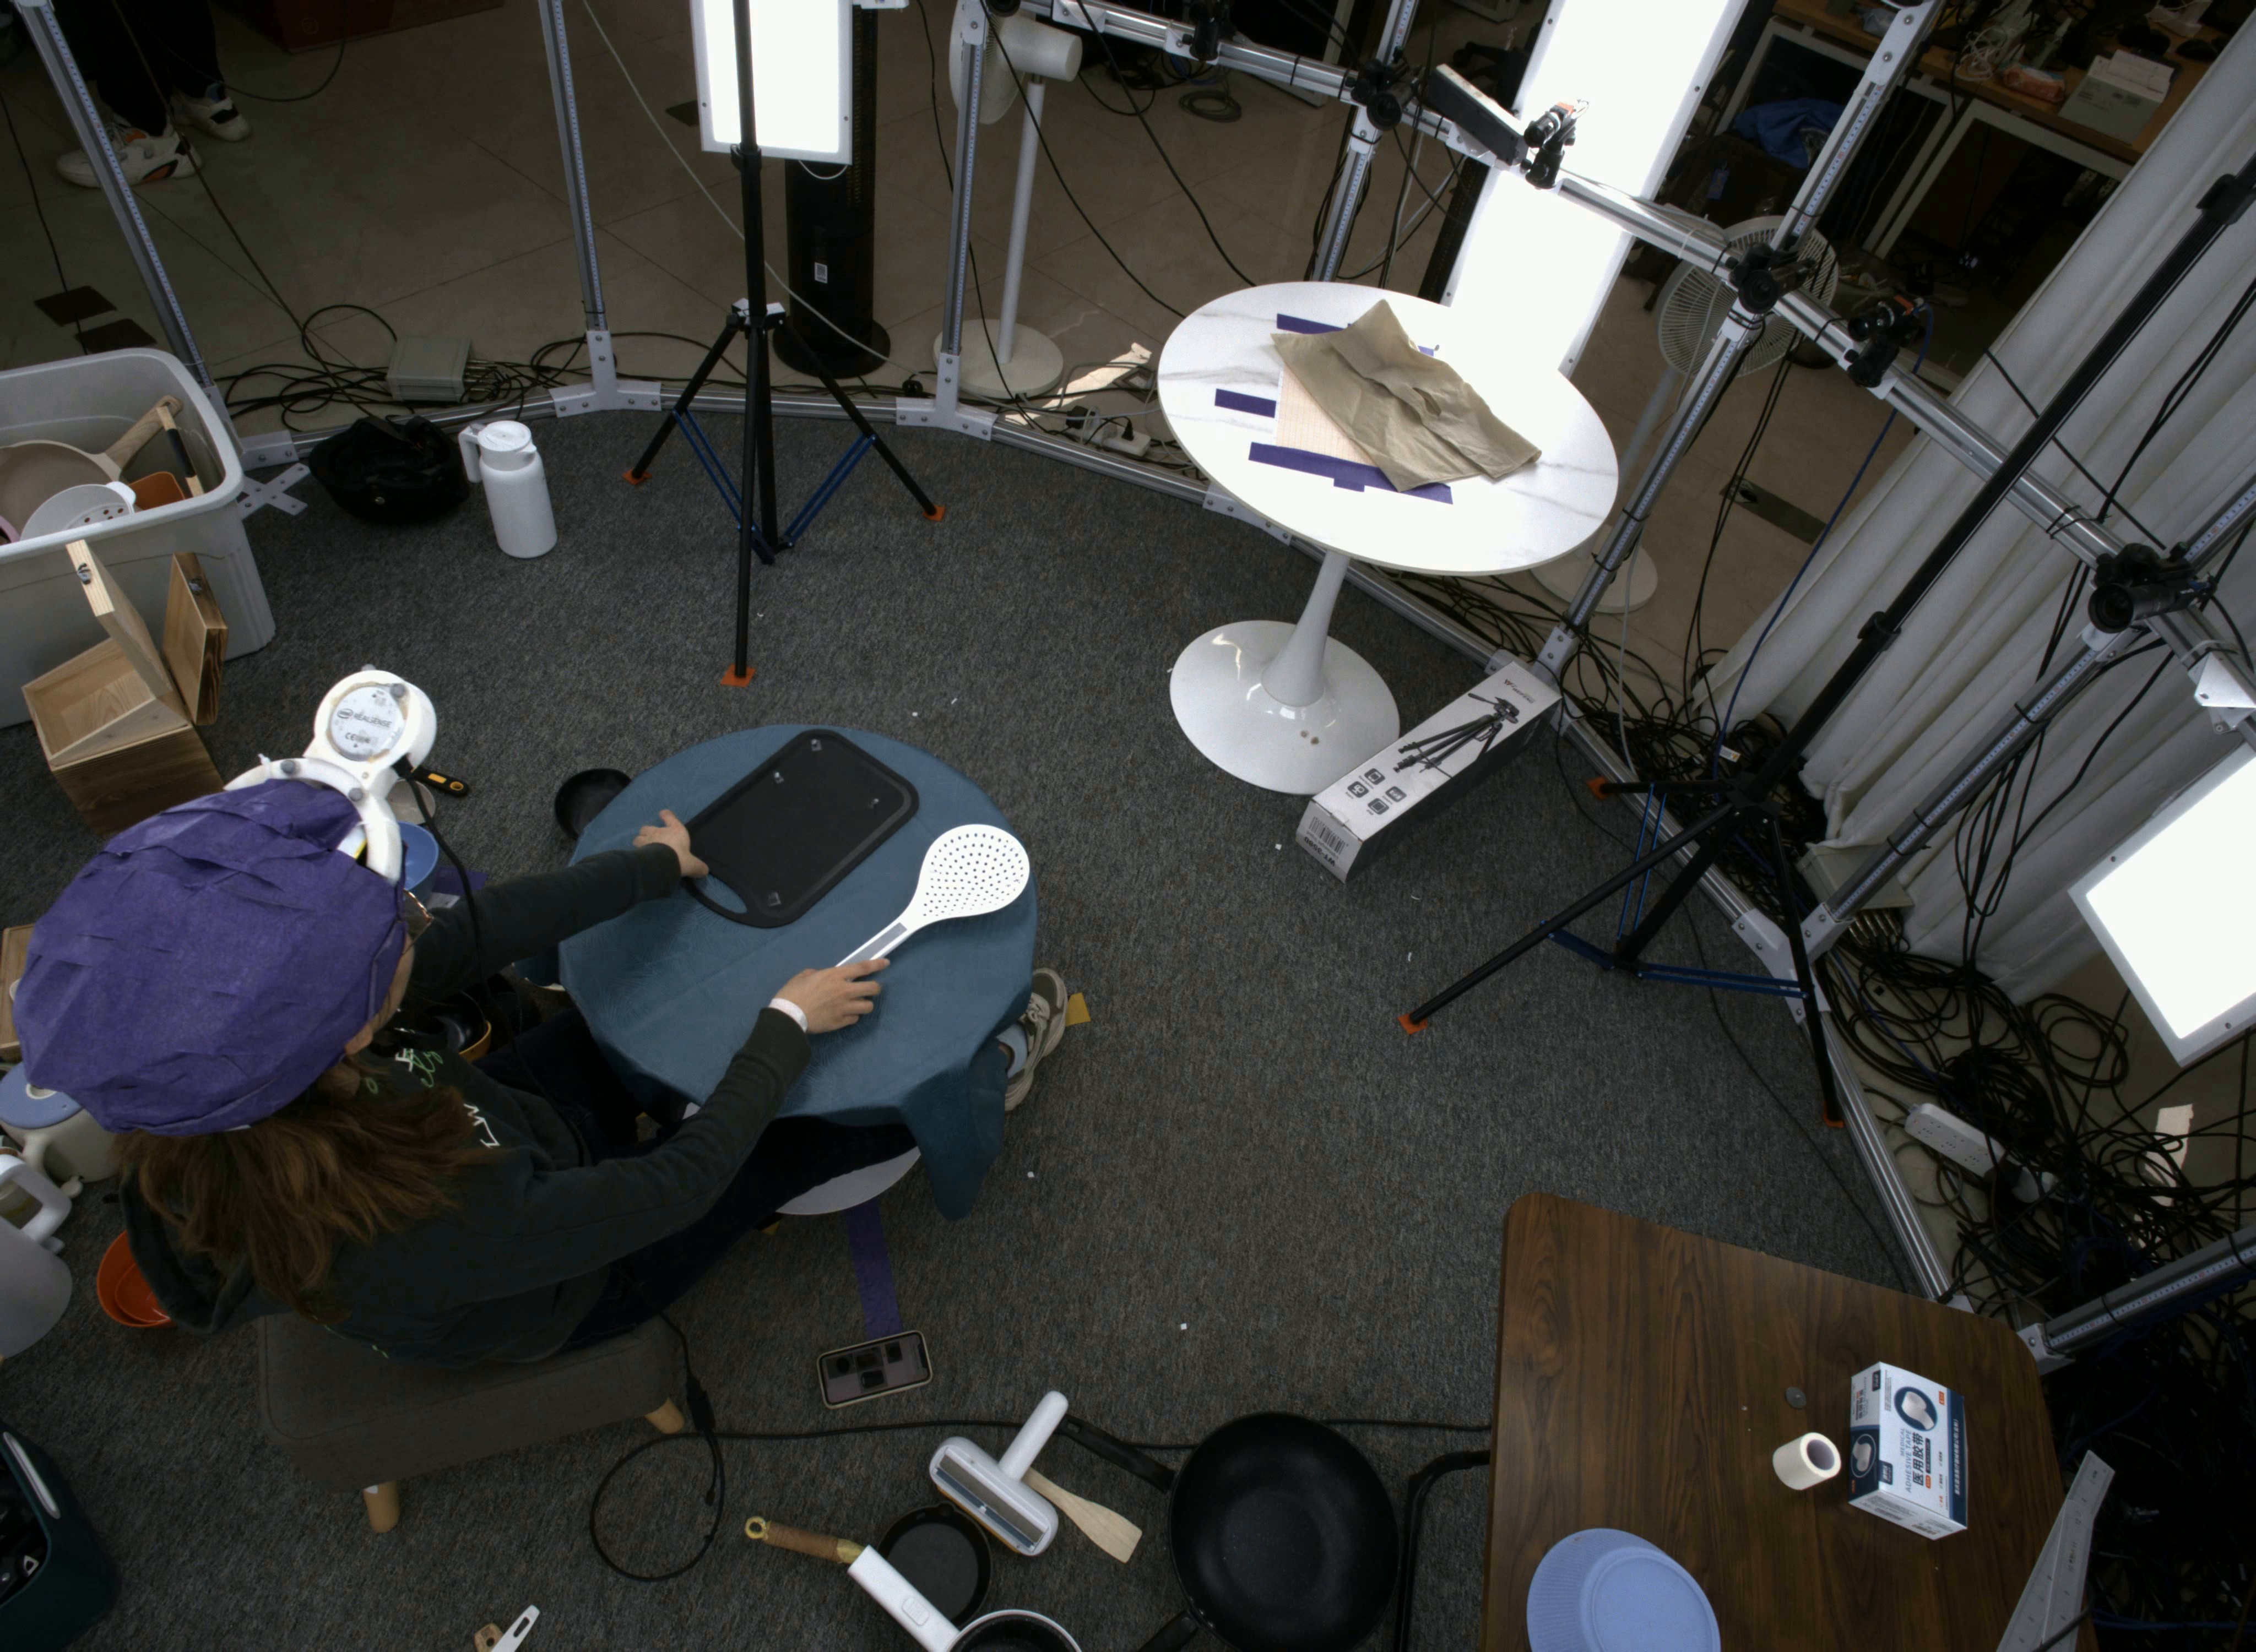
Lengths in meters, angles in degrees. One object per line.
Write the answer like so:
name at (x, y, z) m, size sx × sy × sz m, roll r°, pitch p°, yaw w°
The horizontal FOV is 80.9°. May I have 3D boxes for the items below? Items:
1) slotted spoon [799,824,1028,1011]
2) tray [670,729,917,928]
slotted spoon at (-0.272, 0.117, 1.652) m, size 0.133 × 0.047 × 0.350 m, roll 40°, pitch 55°, yaw 19°
tray at (-0.445, -0.001, 1.720) m, size 0.207 × 0.010 × 0.325 m, roll 34°, pitch 54°, yaw 12°
